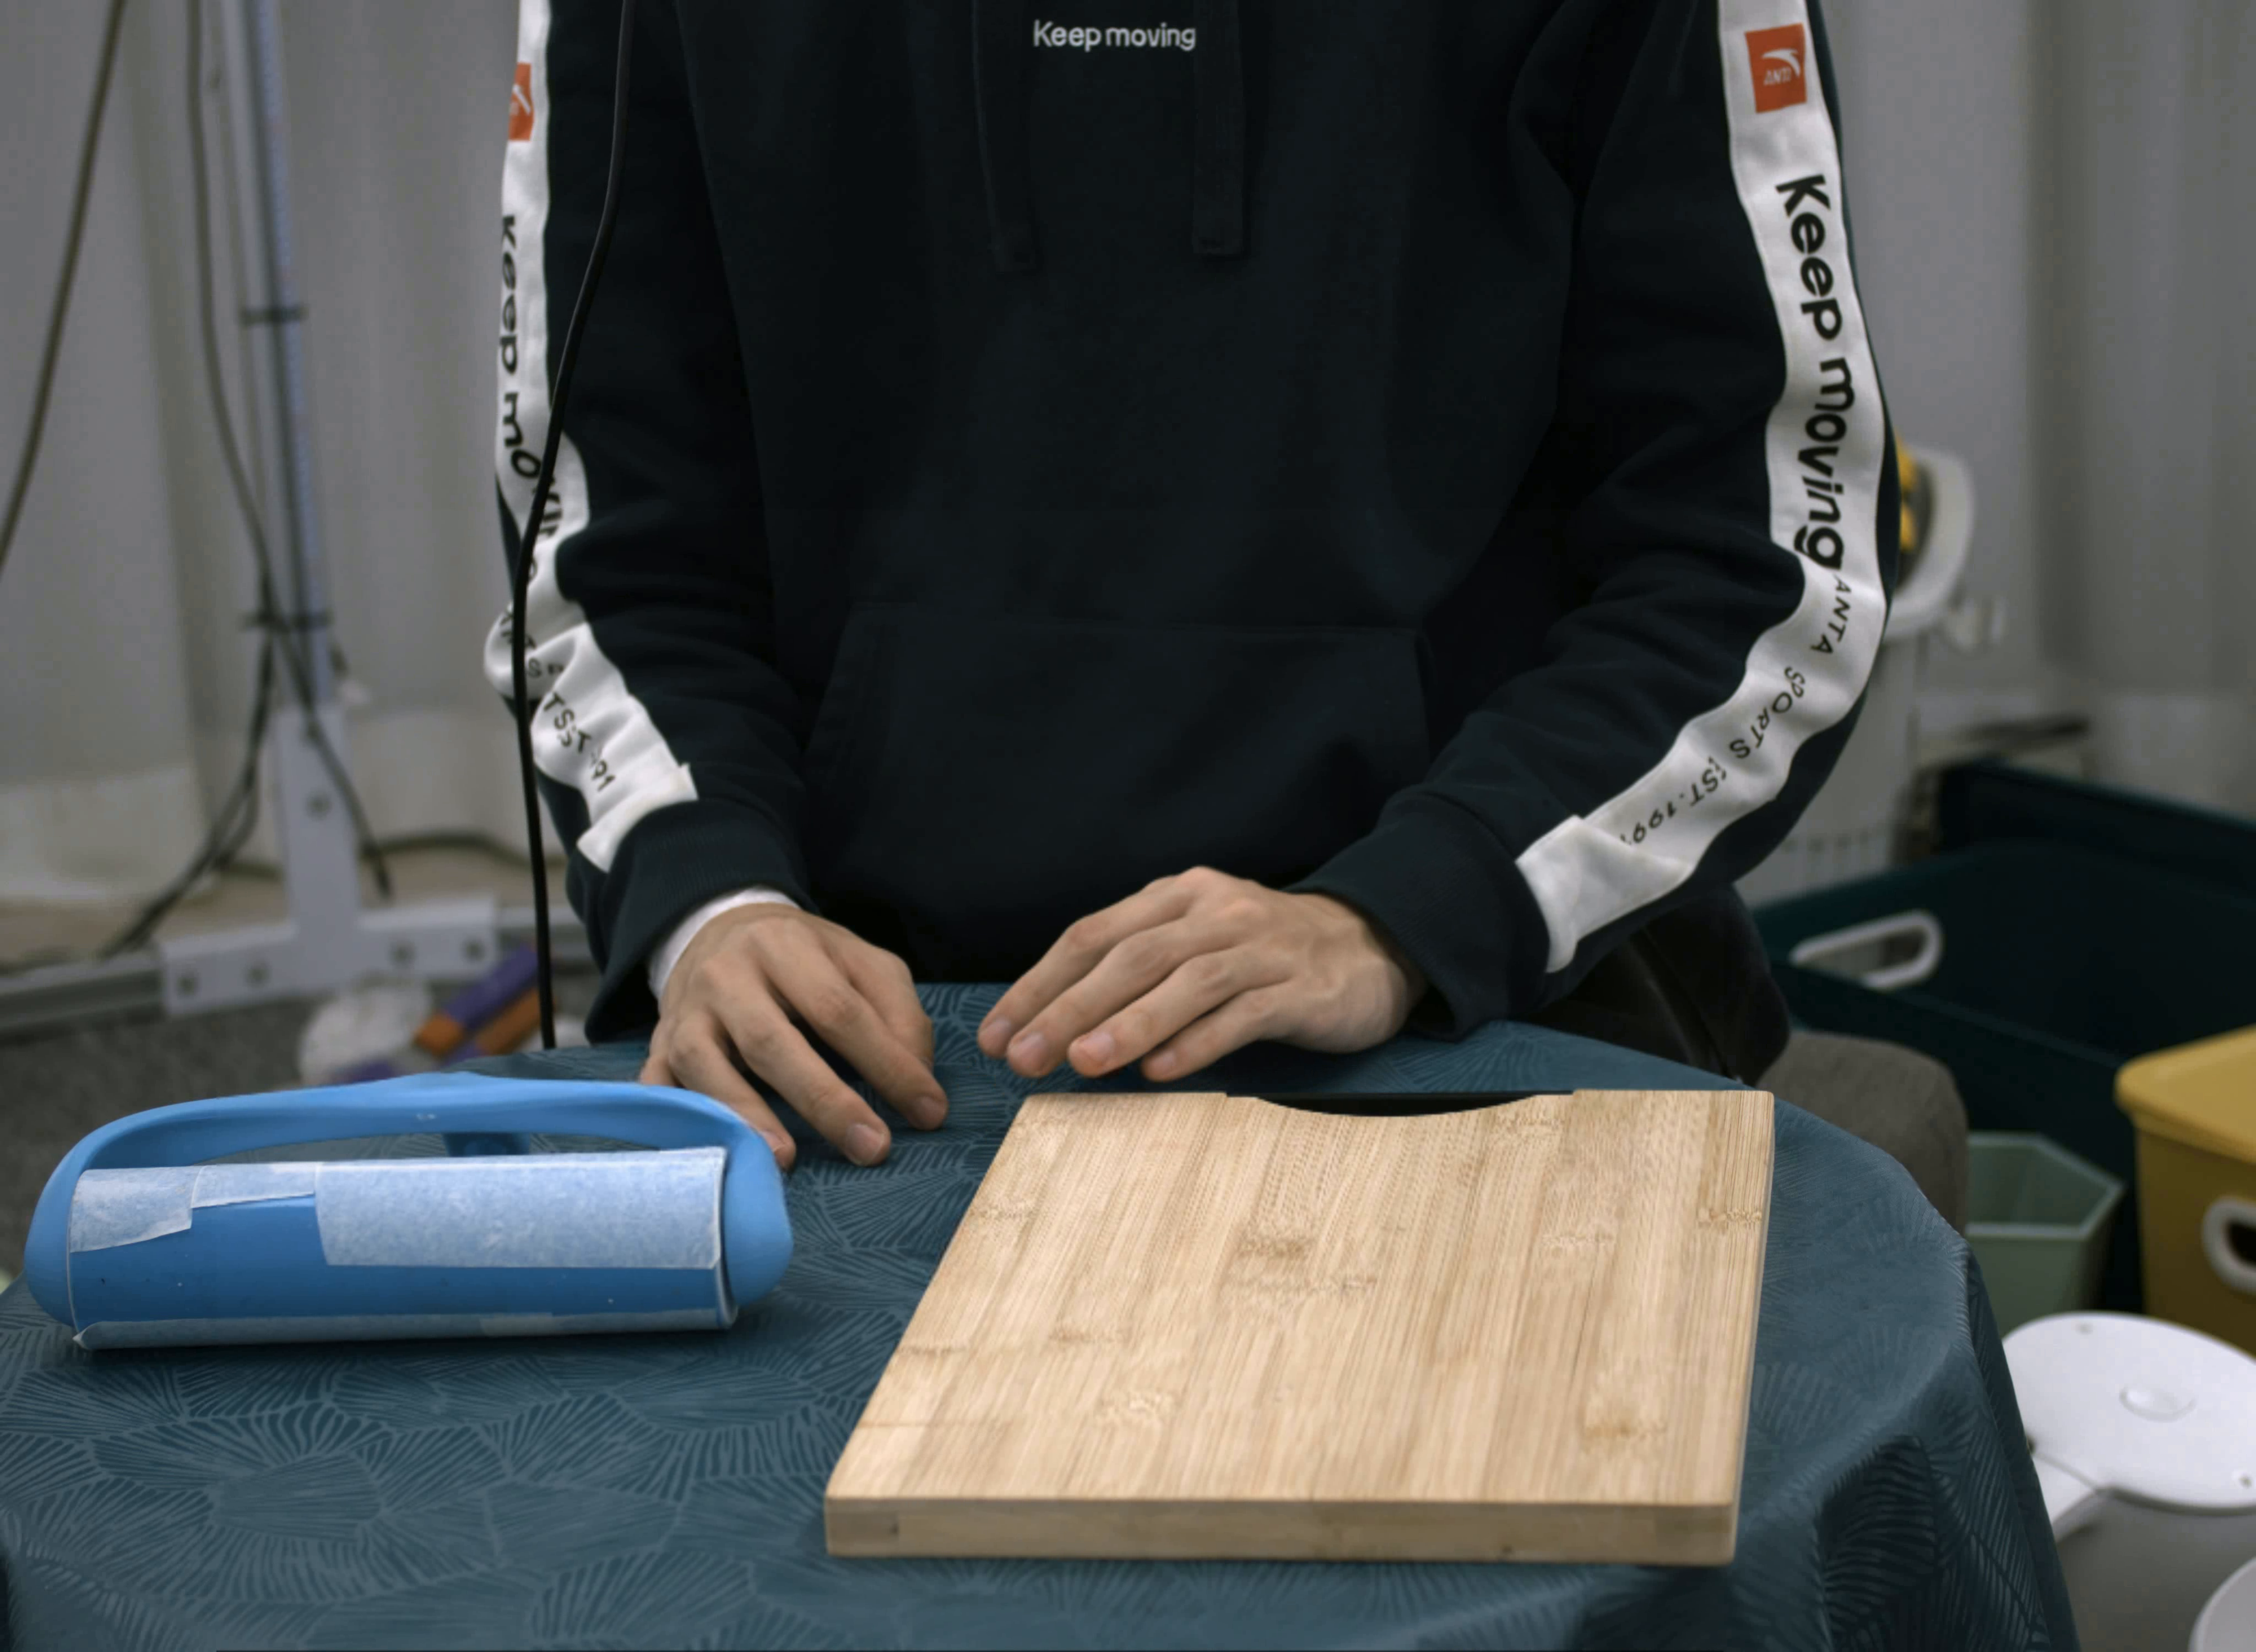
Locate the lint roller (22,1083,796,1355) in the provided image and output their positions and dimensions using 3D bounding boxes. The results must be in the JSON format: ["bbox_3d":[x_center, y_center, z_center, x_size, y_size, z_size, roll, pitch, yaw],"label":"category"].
[{"bbox_3d":[-0.212,0.109,1.670,0.228,0.067,0.181,-4,15,1],"label":"lint roller"}]

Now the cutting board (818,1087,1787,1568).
[{"bbox_3d":[0.063,0.138,1.583,0.250,0.023,0.350,-1,15,8],"label":"cutting board"}]
